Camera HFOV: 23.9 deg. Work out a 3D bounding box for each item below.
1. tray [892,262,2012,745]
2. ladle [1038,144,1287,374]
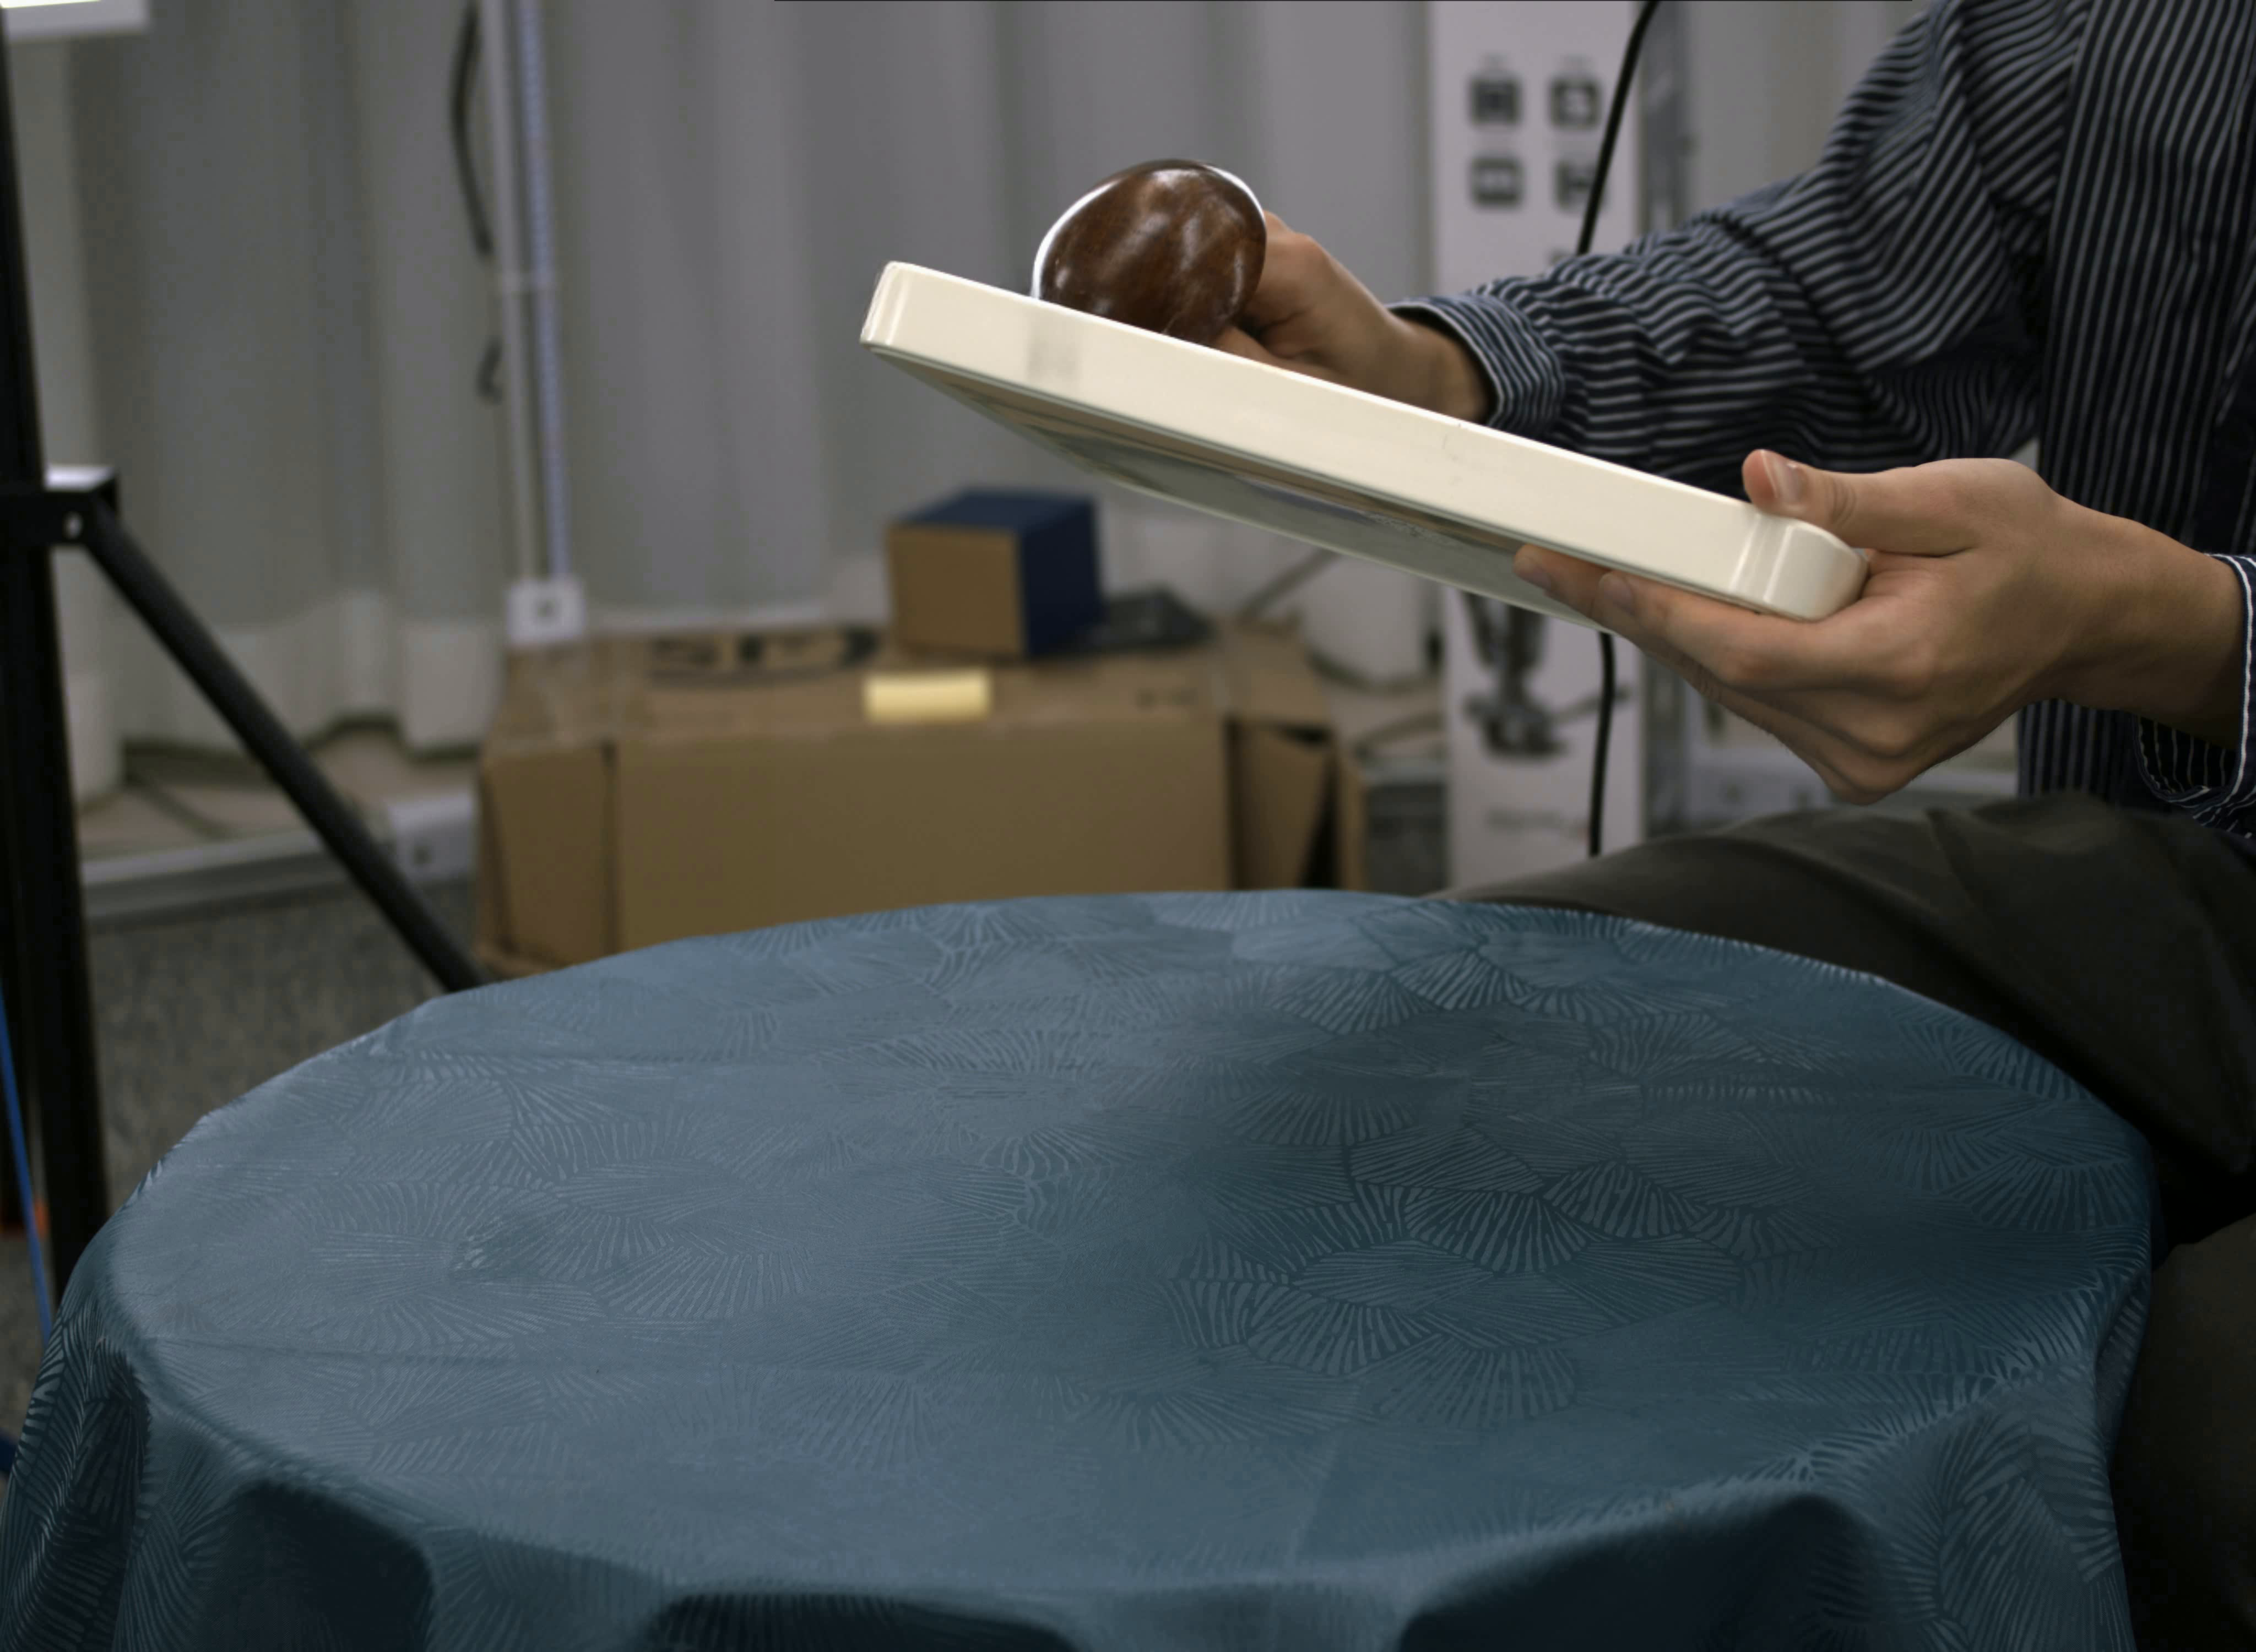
[{"bbox_3d":[0.094,-0.090,1.528,0.305,0.027,0.187,19,-2,27],"label":"tray"},{"bbox_3d":[0.025,-0.150,1.643,0.082,0.077,0.271,-43,-12,2],"label":"ladle"}]
